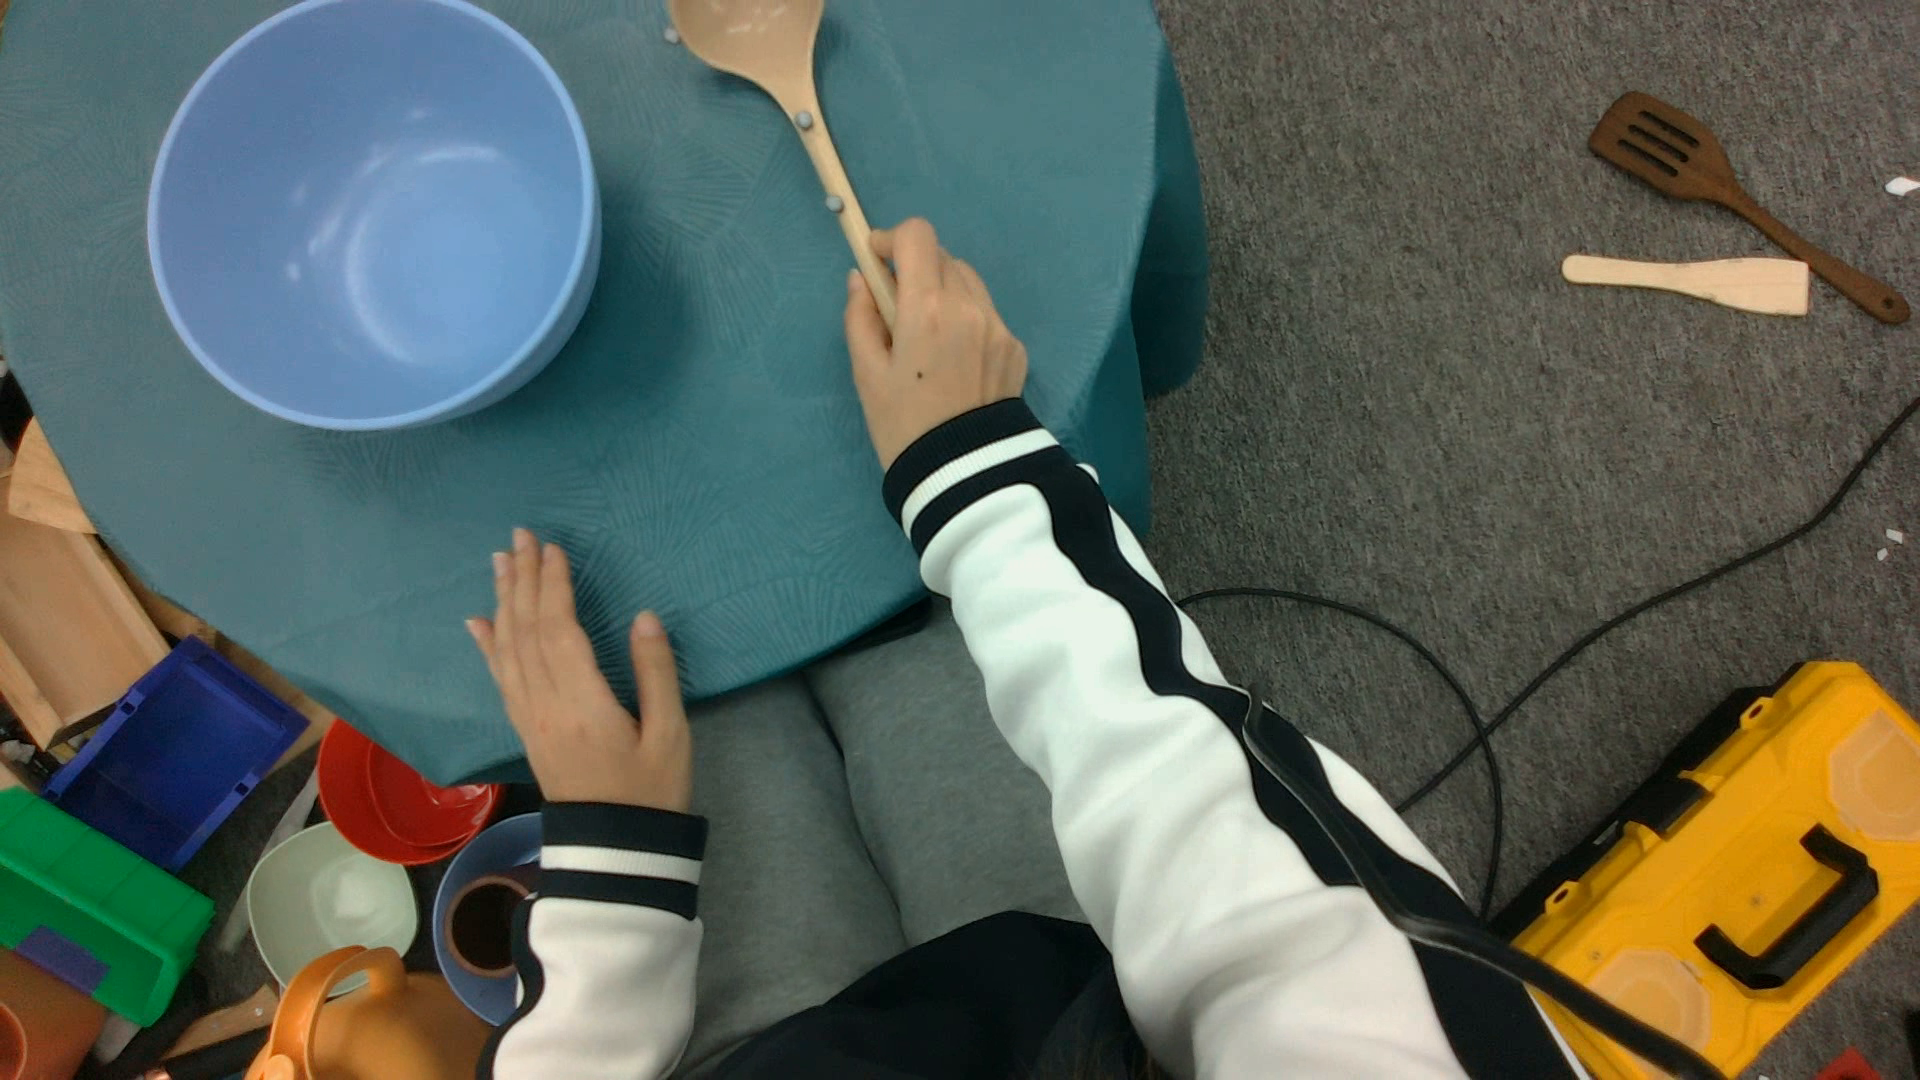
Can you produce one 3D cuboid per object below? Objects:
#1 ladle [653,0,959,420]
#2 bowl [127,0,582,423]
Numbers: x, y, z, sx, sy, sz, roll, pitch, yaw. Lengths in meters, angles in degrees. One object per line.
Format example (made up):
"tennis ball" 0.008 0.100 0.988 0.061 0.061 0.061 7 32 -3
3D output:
"ladle" -0.067 -0.173 0.634 0.072 0.073 0.255 -28 77 2
"bowl" -0.259 -0.140 0.636 0.196 0.095 0.197 -1 81 4
